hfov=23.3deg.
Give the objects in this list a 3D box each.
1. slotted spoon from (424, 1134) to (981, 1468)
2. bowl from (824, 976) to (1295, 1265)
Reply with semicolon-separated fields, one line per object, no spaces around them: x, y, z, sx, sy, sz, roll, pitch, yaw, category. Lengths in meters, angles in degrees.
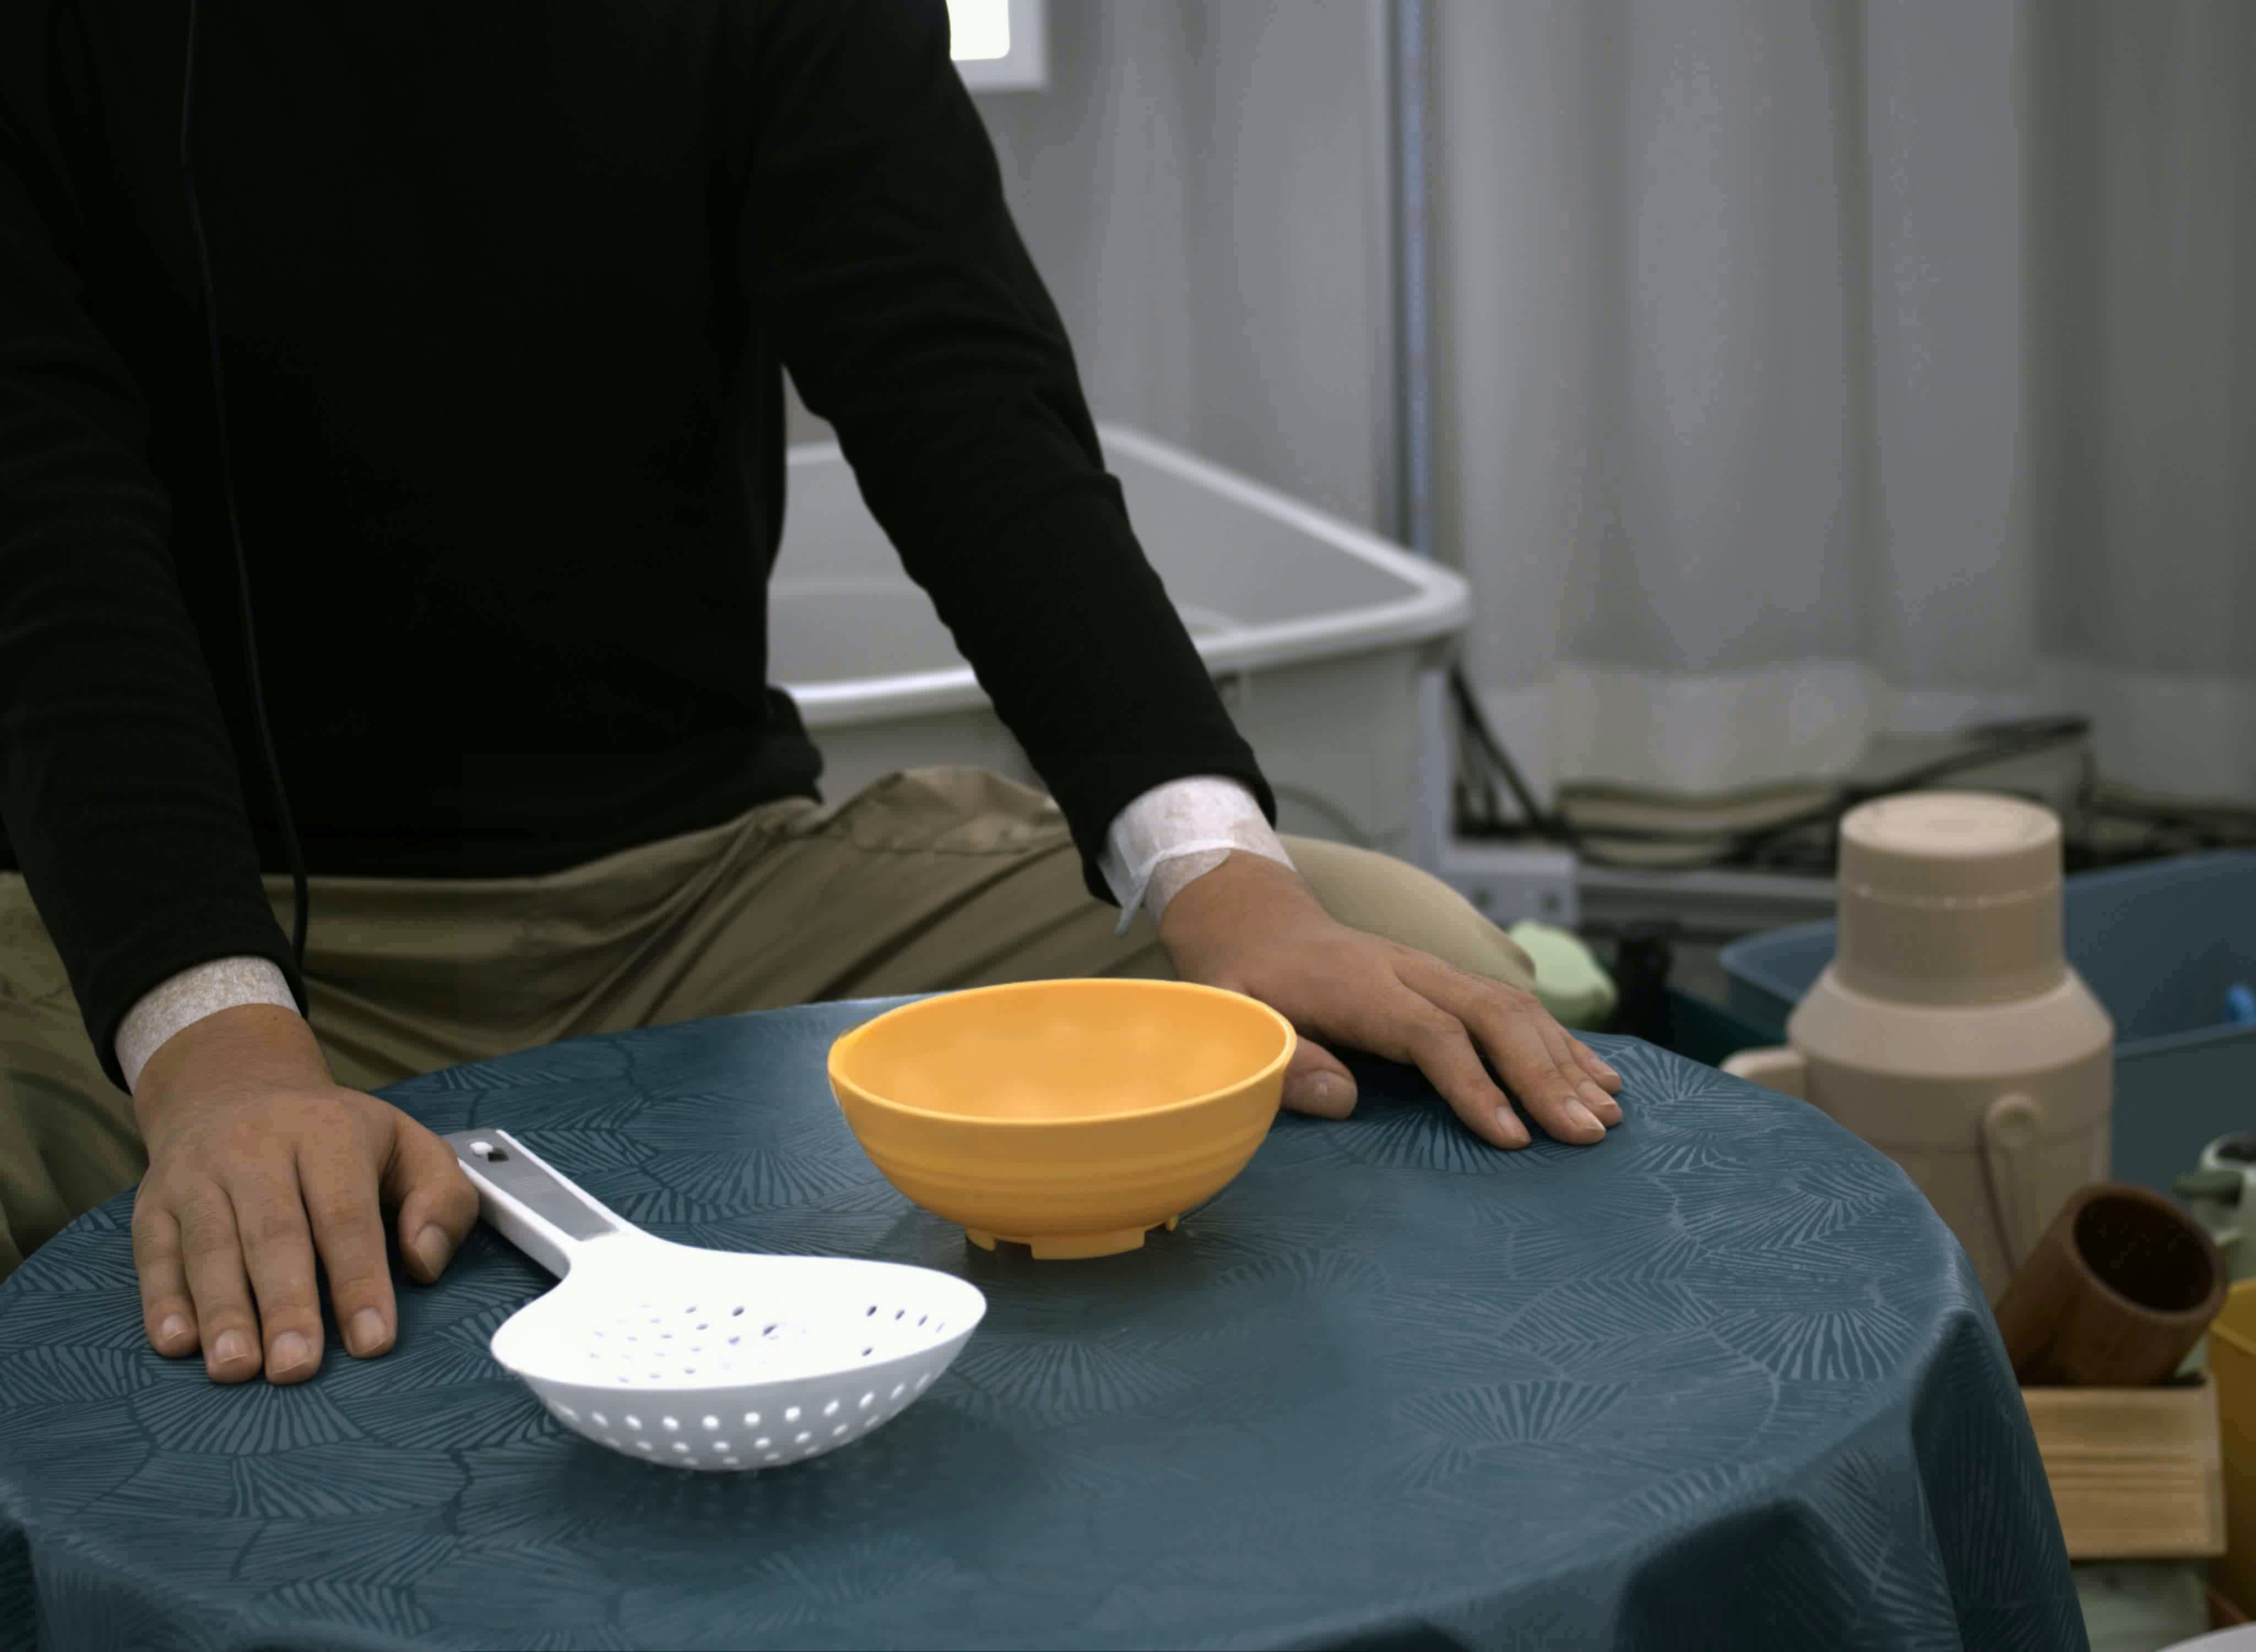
-0.149;0.129;1.600;0.135;0.045;0.352;-8;15;-22;slotted spoon
-0.021;0.096;1.680;0.145;0.060;0.146;-1;16;0;bowl
